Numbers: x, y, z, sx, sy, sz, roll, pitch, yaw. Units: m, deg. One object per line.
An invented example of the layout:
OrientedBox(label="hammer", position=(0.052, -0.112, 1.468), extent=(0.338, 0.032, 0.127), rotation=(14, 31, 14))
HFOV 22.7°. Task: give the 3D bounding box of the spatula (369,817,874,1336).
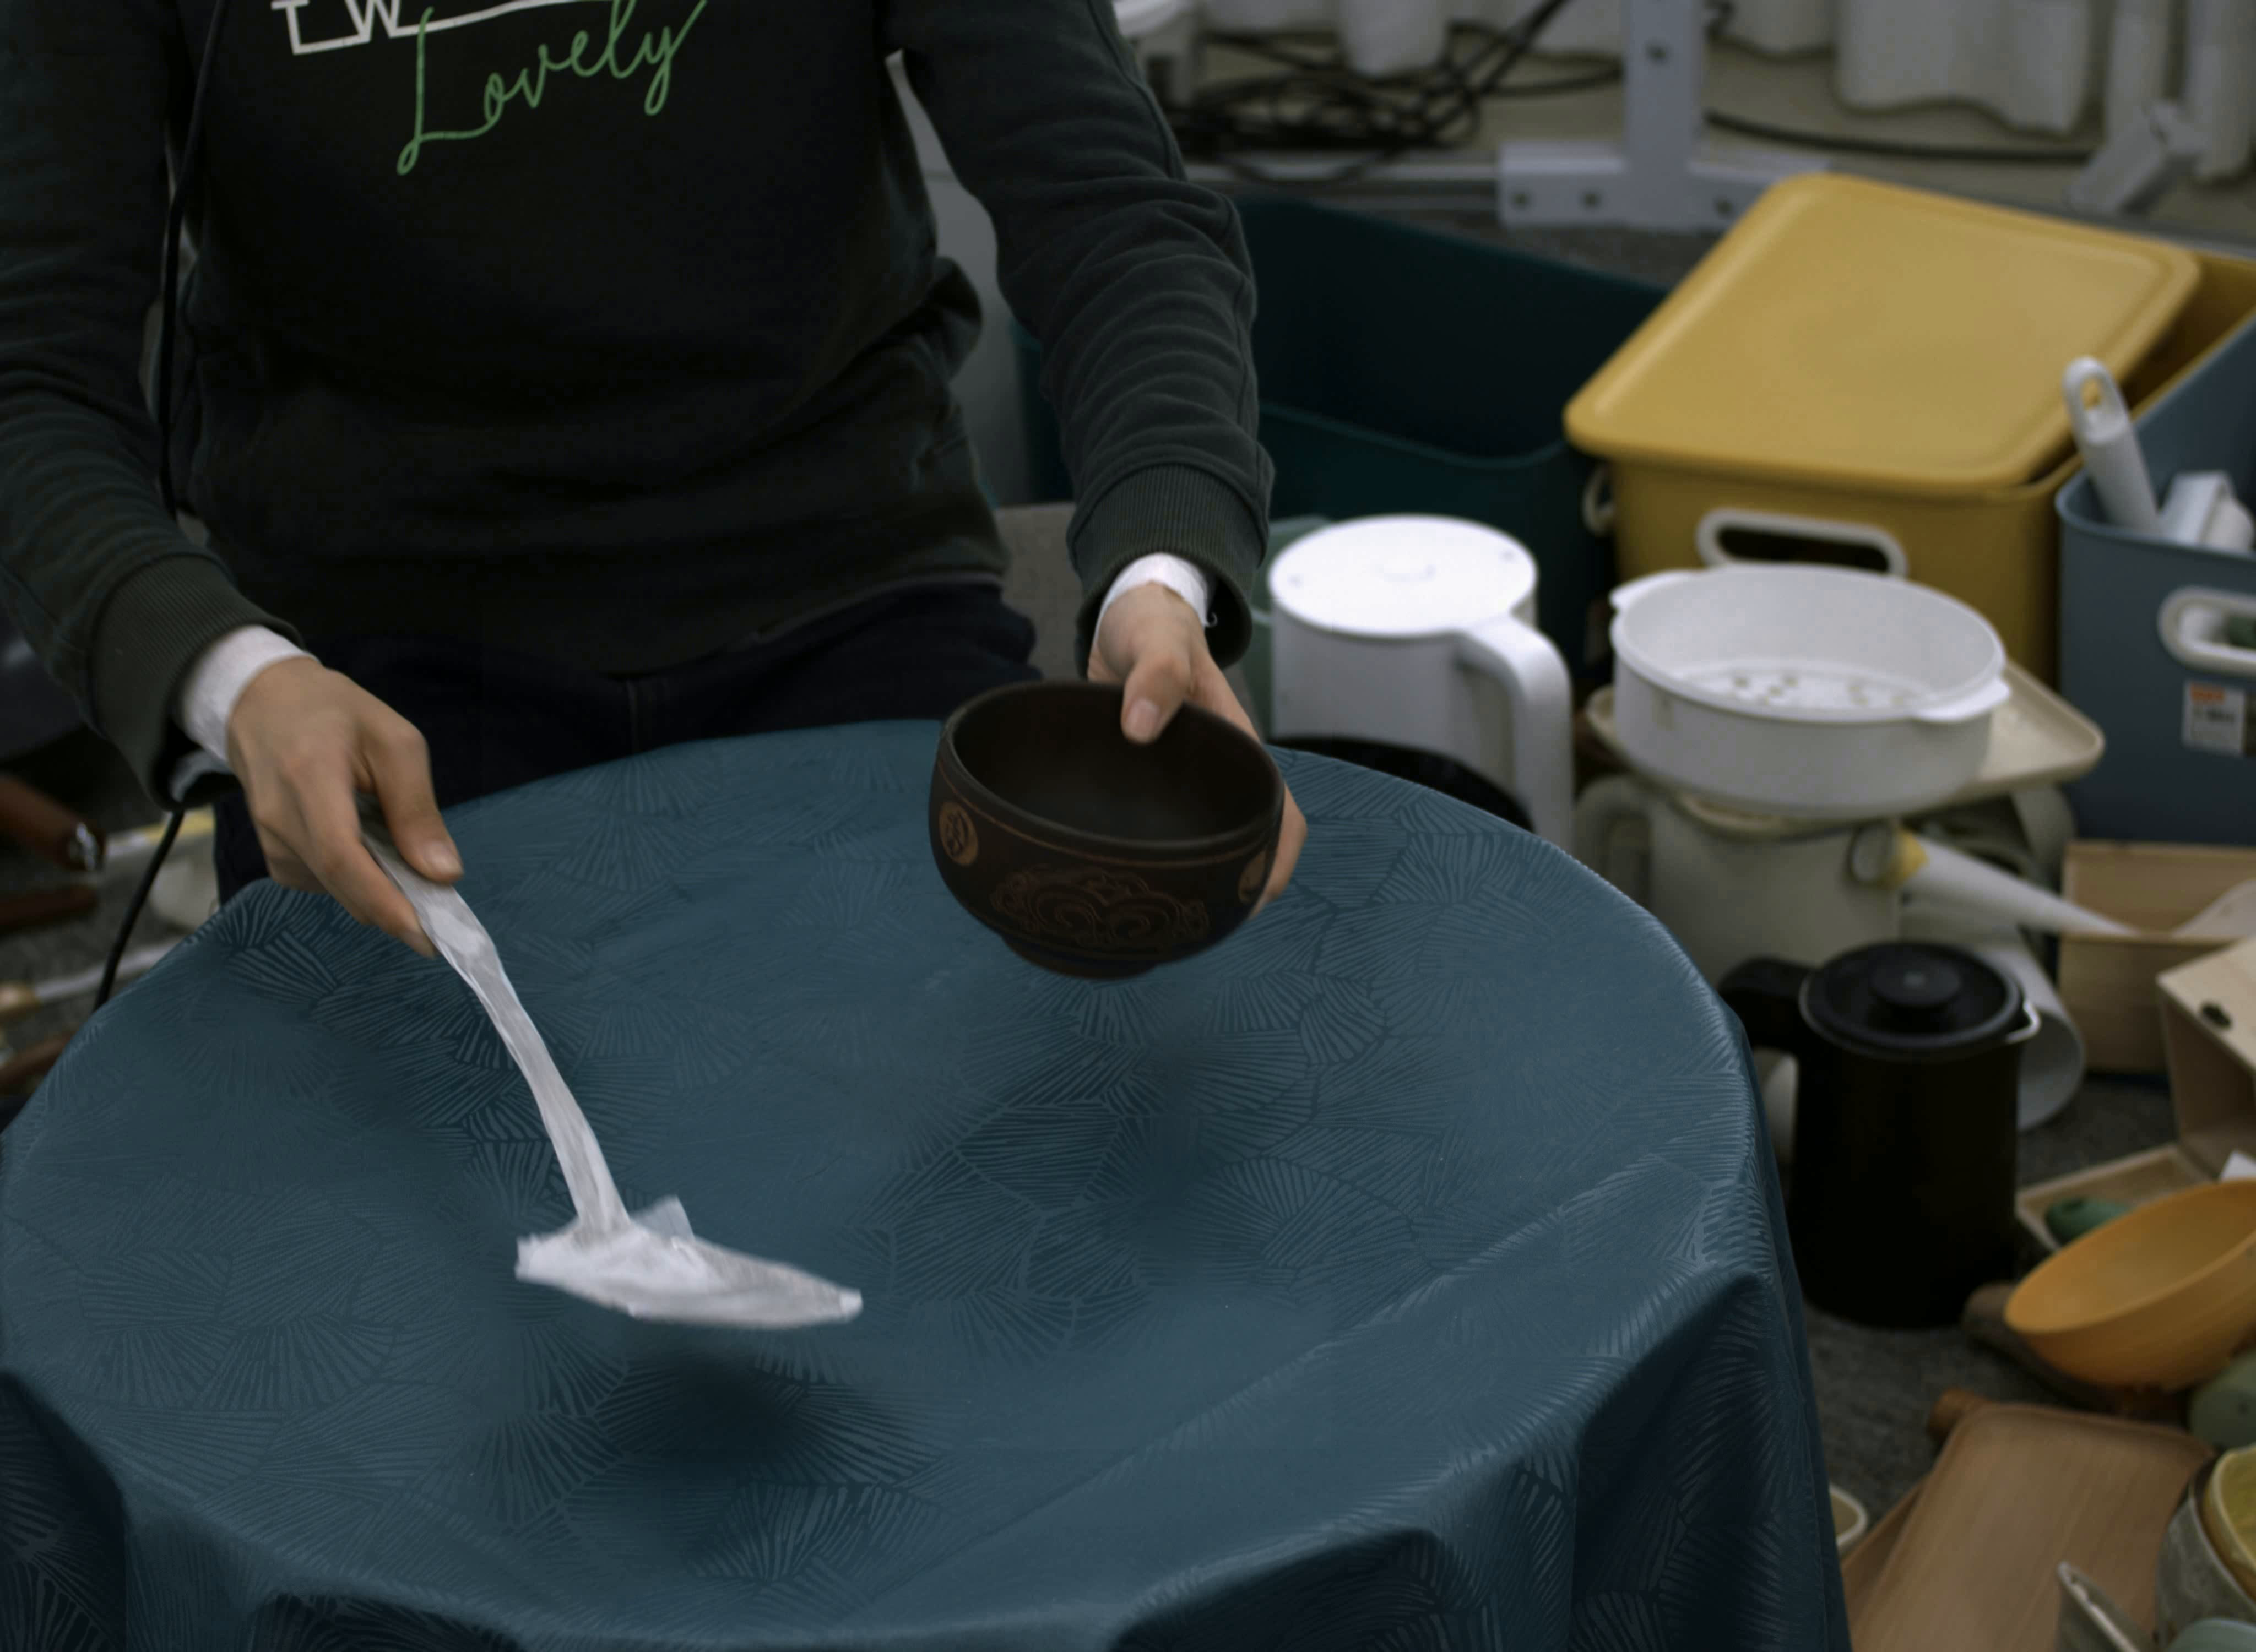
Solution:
OrientedBox(label="spatula", position=(-0.189, 0.074, 1.835), extent=(0.099, 0.044, 0.368), rotation=(3, 30, -29))

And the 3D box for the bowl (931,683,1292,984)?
OrientedBox(label="bowl", position=(-0.009, 0.009, 1.859), extent=(0.117, 0.069, 0.120), rotation=(11, 25, -4))
